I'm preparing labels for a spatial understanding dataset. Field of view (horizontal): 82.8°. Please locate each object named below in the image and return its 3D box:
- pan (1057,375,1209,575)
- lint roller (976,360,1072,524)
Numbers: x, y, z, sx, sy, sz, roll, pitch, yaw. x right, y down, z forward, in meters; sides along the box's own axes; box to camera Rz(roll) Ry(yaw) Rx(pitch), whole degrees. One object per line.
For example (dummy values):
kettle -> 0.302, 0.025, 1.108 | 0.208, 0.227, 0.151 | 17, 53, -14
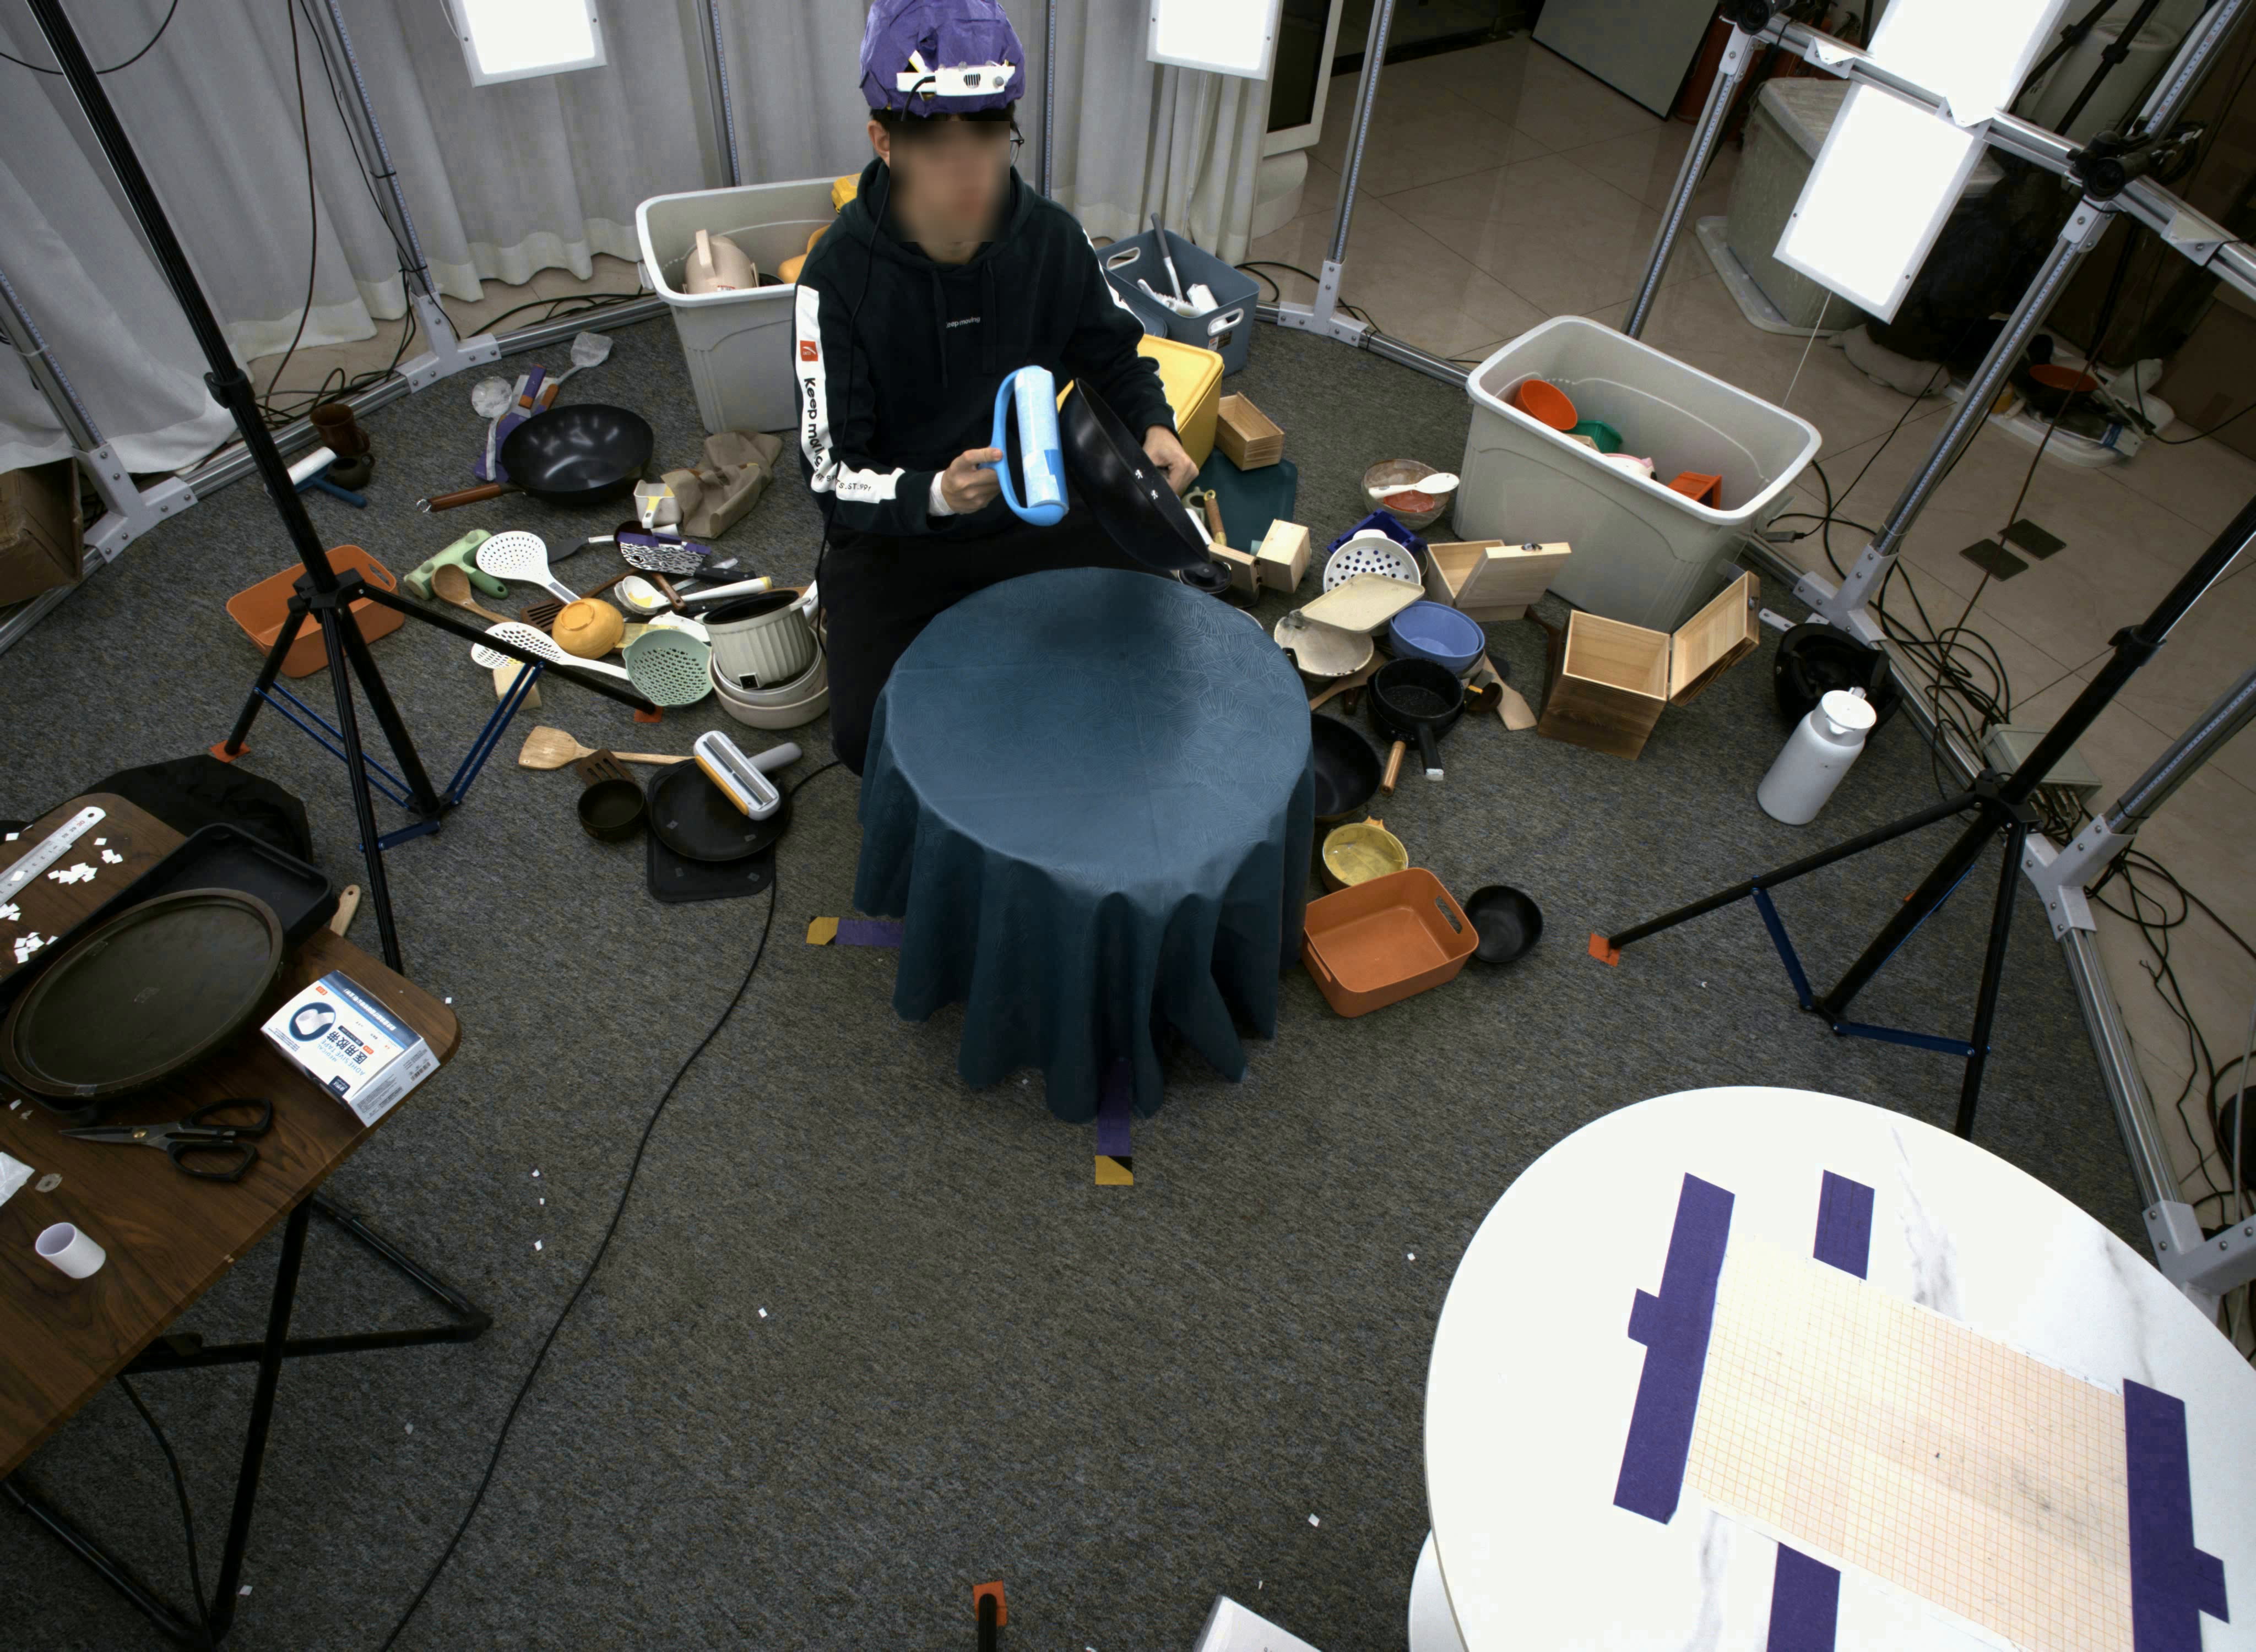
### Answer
pan -> 0.013, -0.485, 1.847 | 0.309, 0.111, 0.481 | 54, 15, -5
lint roller -> -0.156, -0.485, 1.725 | 0.067, 0.179, 0.232 | 9, 65, -49
